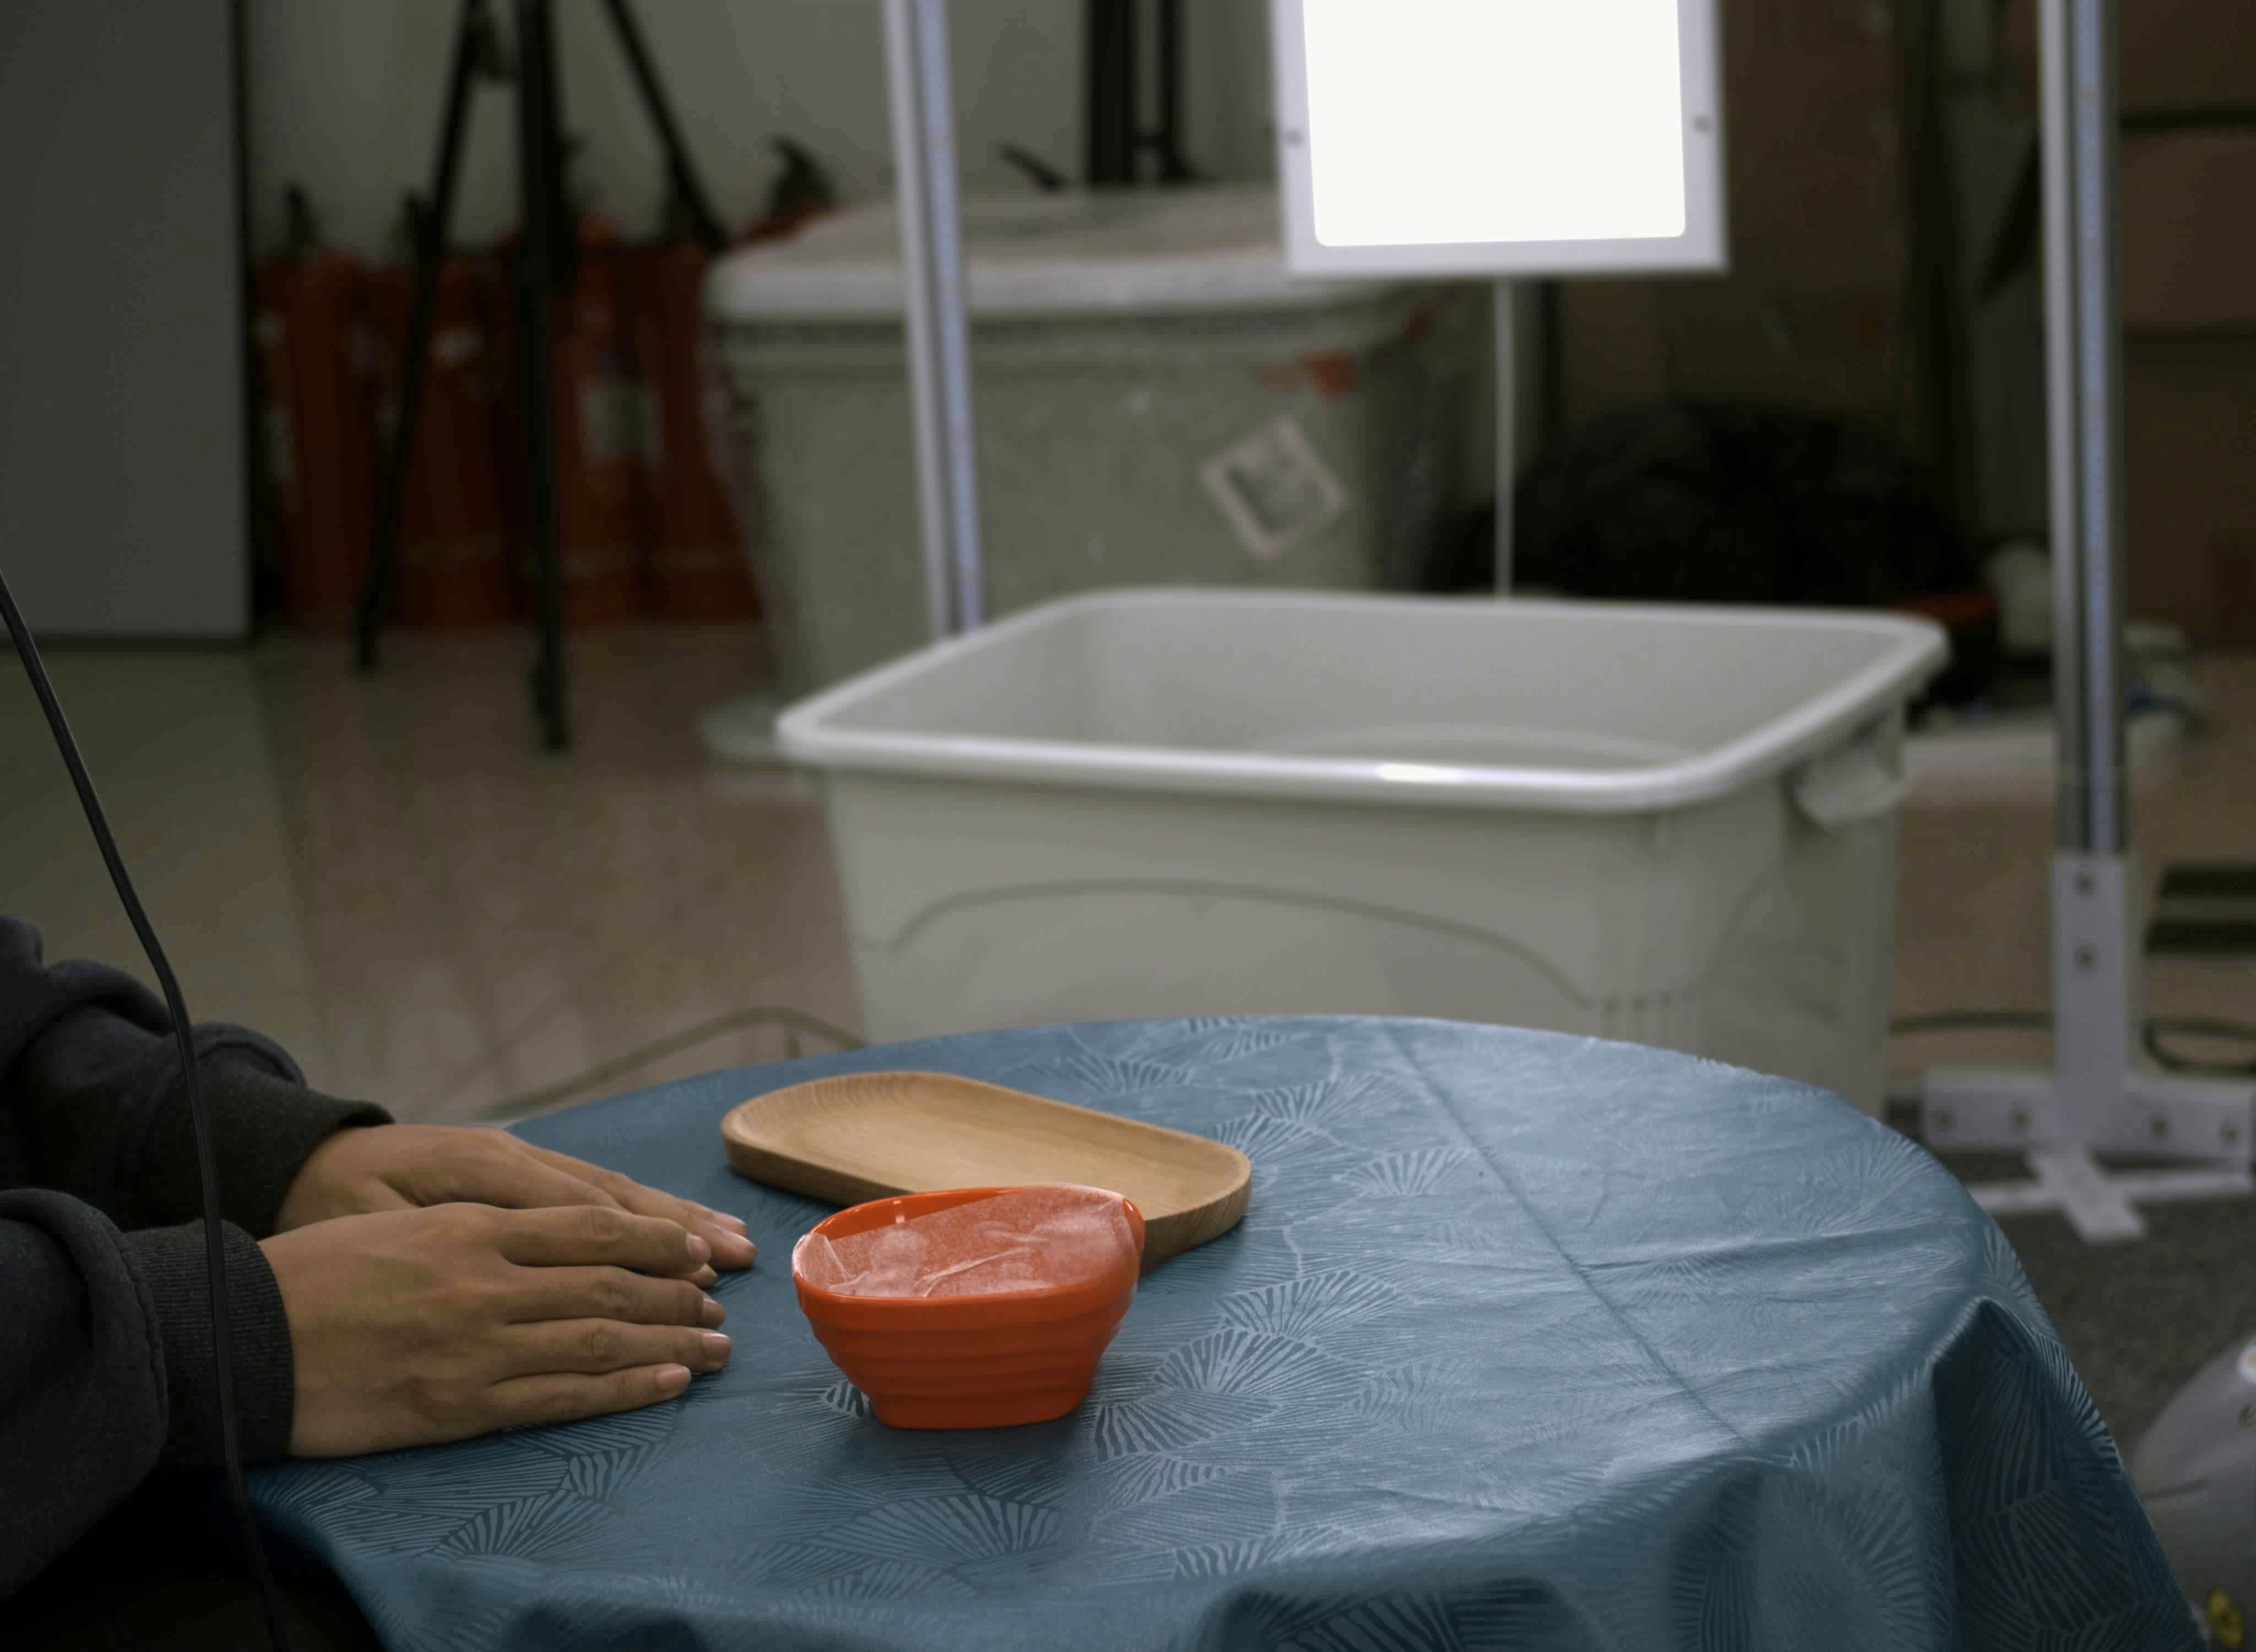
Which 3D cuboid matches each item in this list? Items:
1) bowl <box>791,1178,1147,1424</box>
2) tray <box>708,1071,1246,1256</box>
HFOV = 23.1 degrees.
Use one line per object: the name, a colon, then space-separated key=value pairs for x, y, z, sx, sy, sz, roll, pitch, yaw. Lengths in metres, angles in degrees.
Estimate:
bowl: x=-0.048 y=0.150 z=1.705 sx=0.118 sy=0.051 sz=0.119 roll=-4 pitch=15 yaw=0
tray: x=-0.054 y=0.118 z=1.919 sx=0.099 sy=0.020 sz=0.236 roll=-16 pitch=16 yaw=-40
